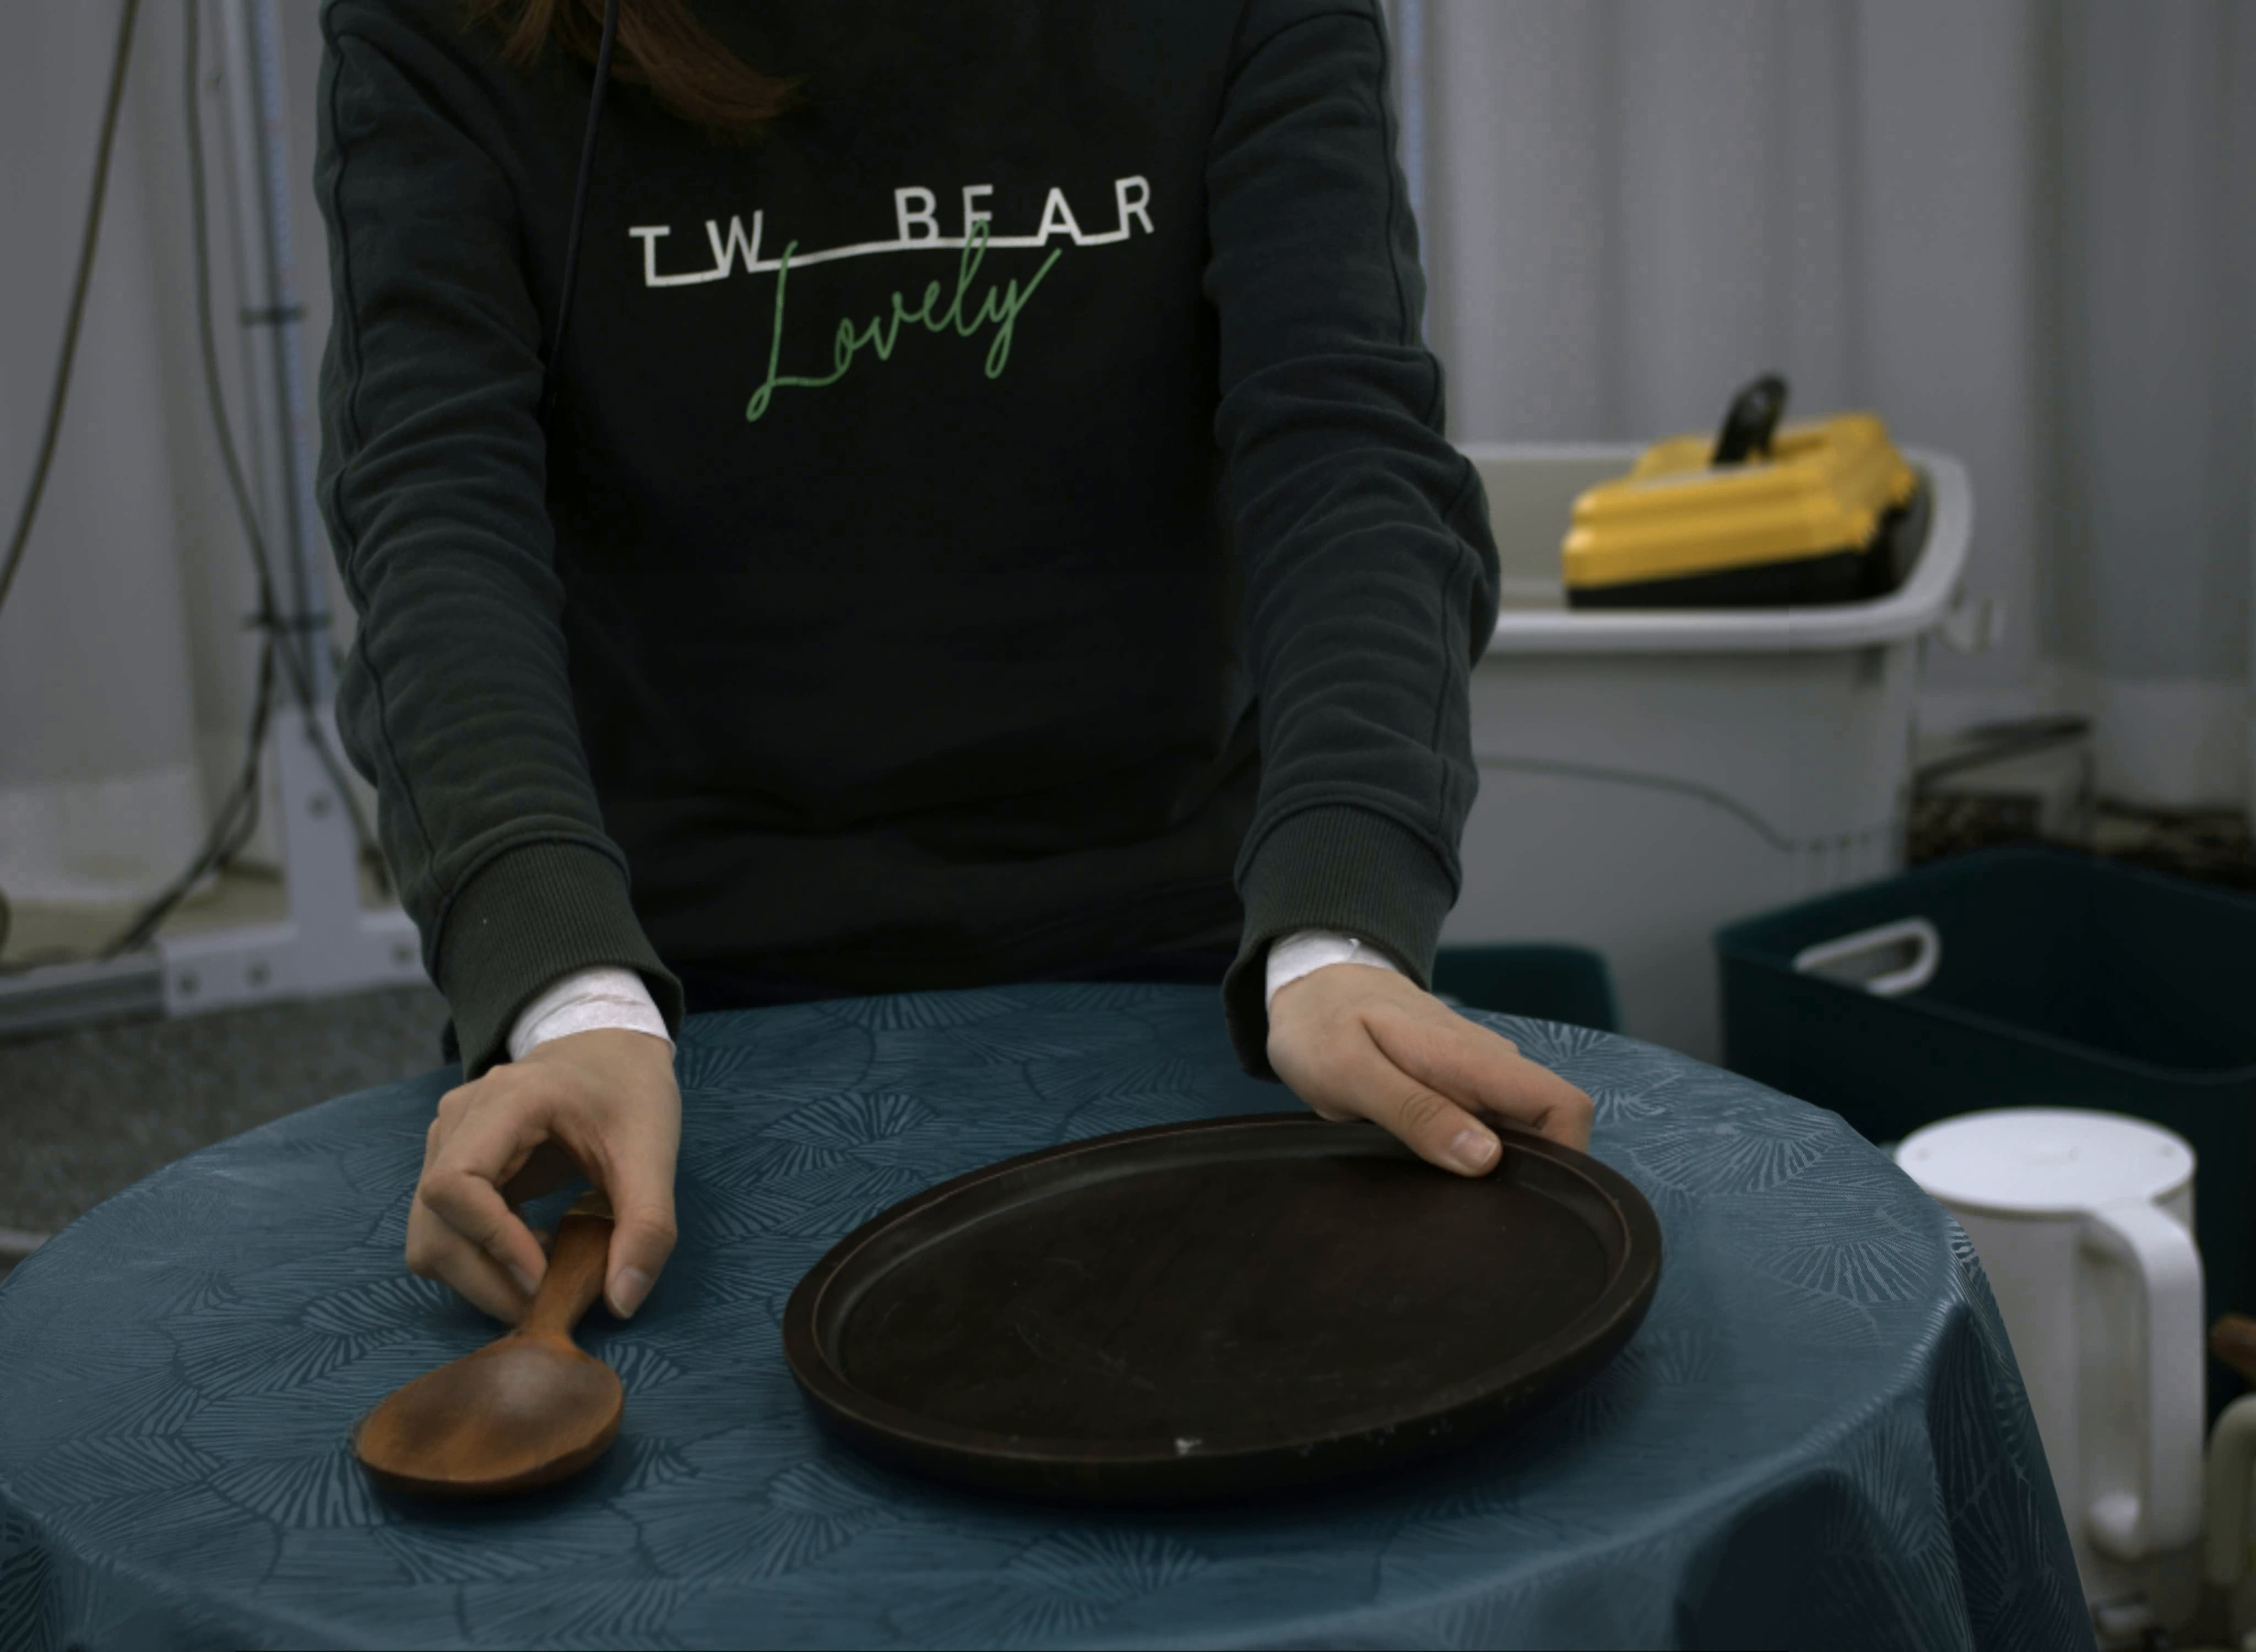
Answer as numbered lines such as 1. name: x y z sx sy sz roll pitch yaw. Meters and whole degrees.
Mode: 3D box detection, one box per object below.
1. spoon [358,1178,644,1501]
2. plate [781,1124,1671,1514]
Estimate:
1. spoon: -0.168 0.148 1.570 0.075 0.017 0.217 -4 18 7
2. plate: 0.028 0.137 1.552 0.254 0.029 0.257 -5 18 1
